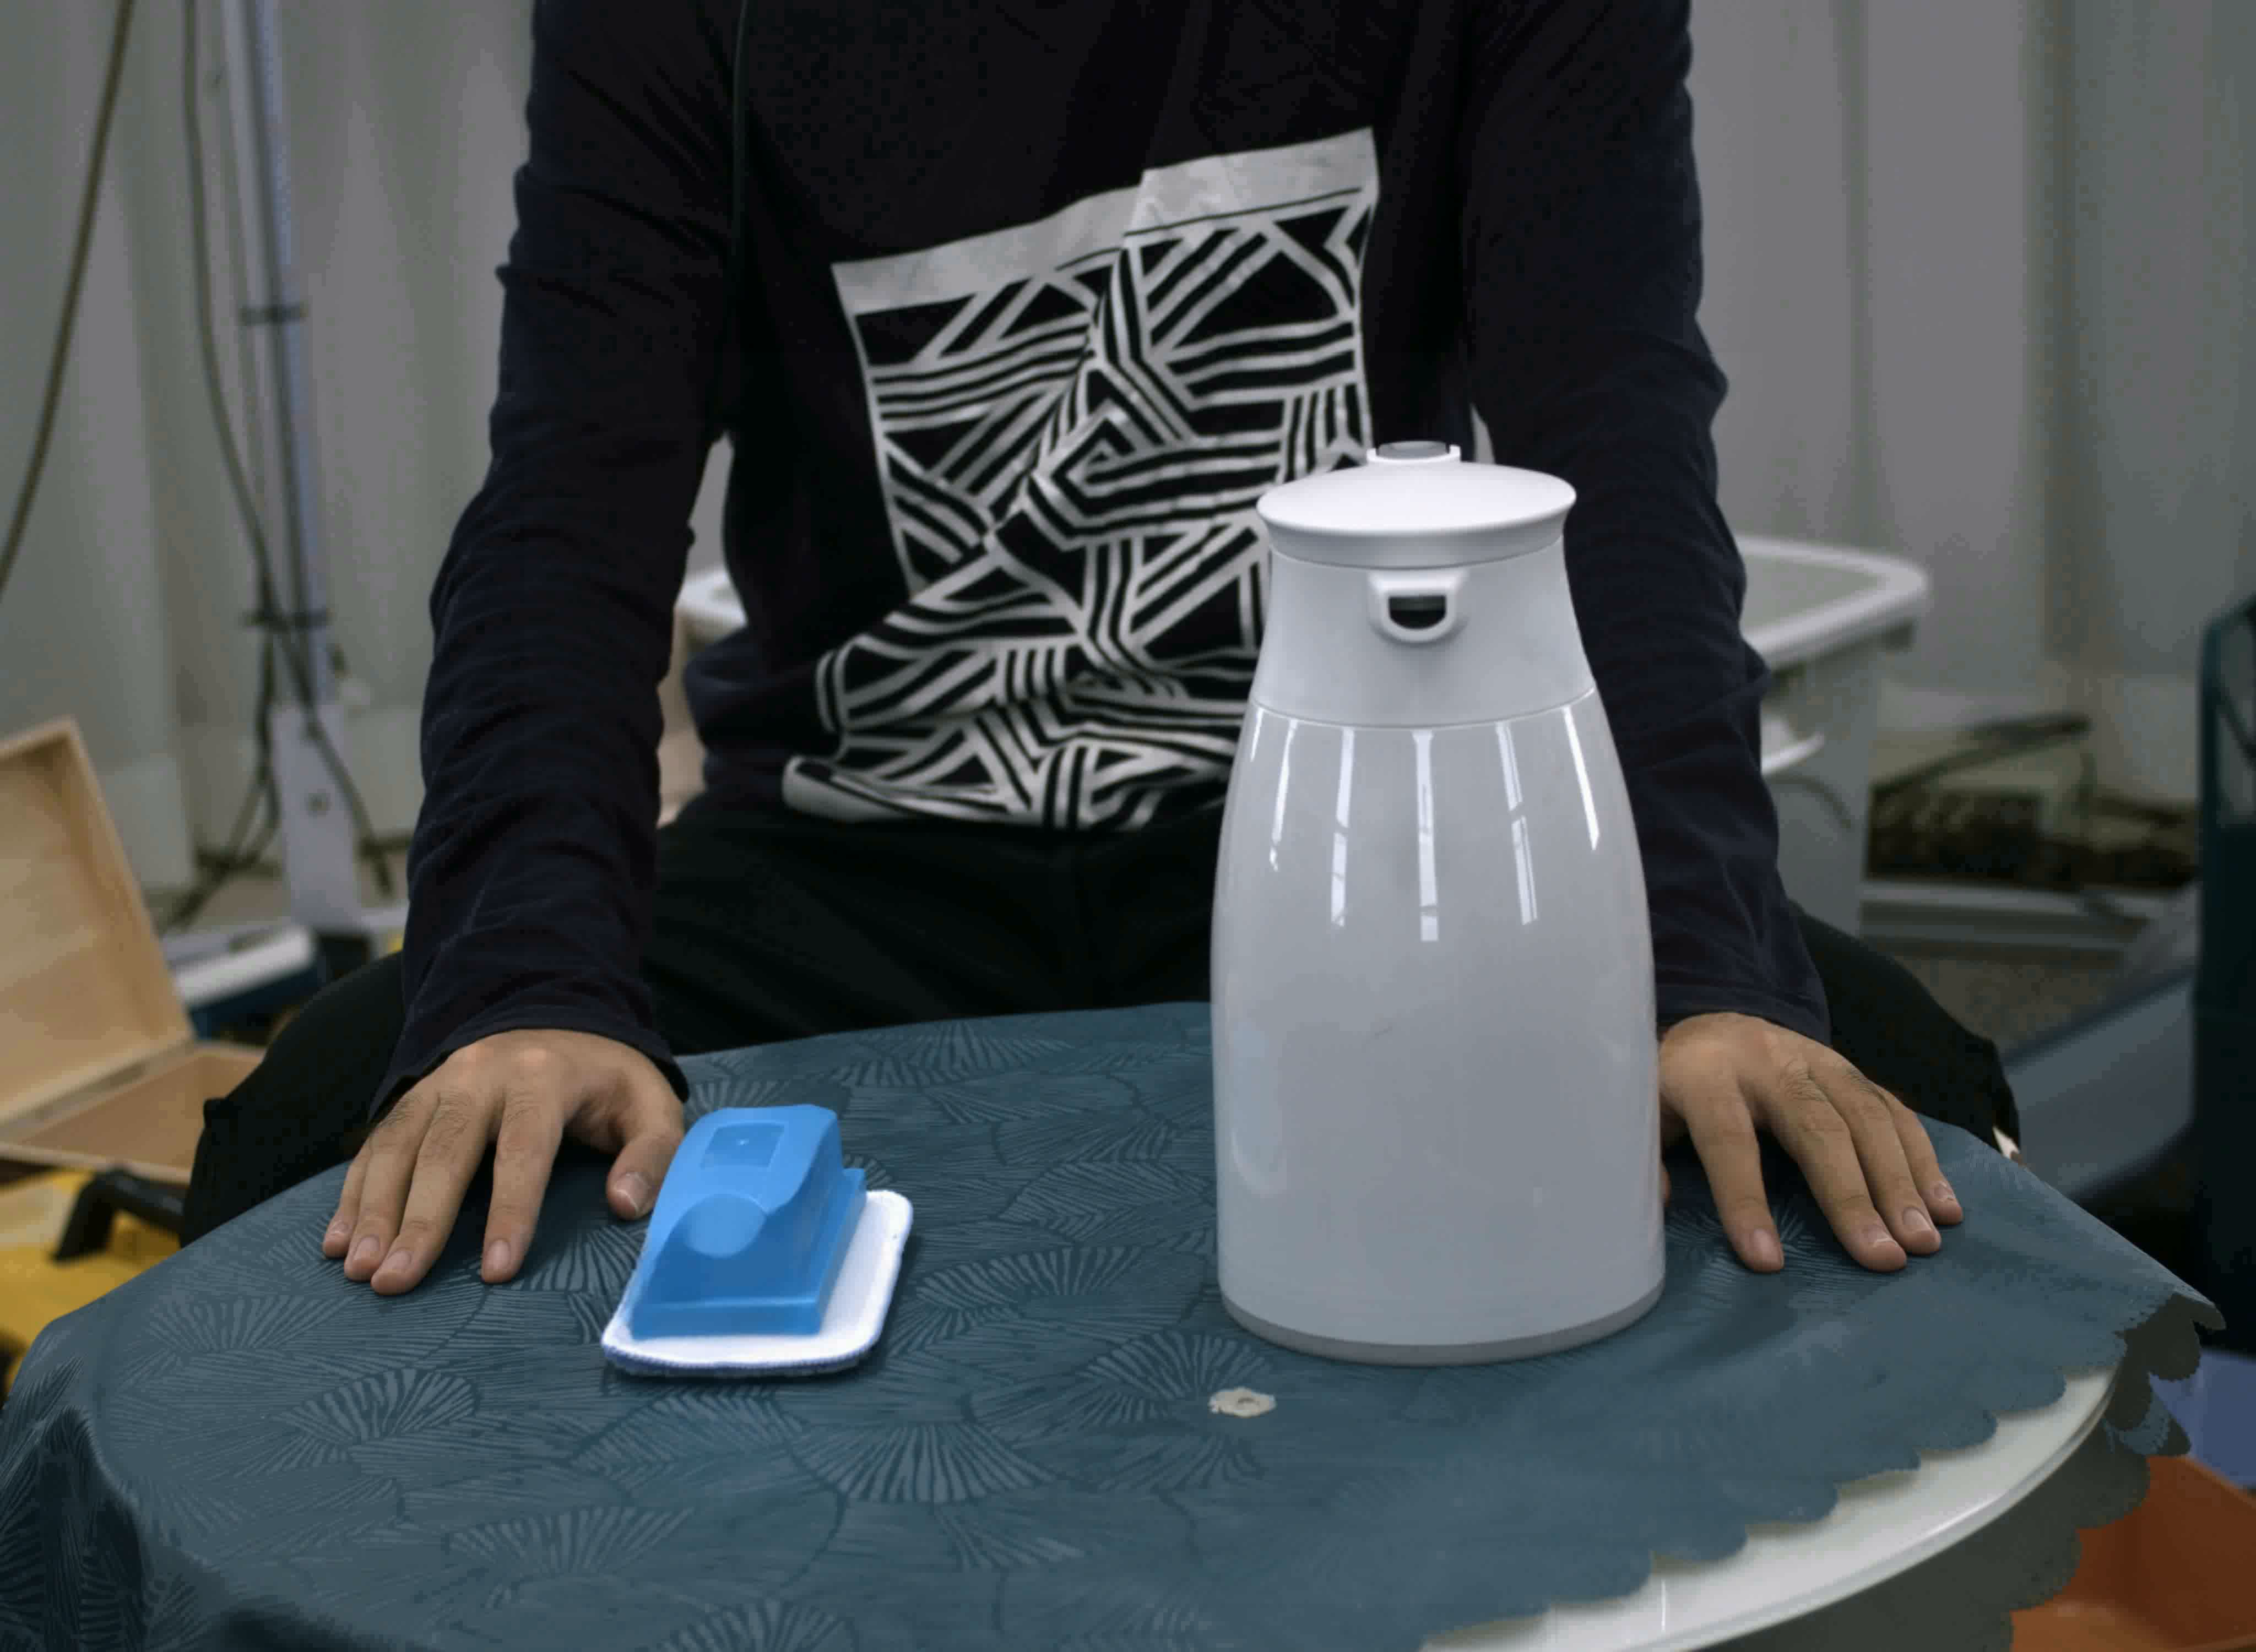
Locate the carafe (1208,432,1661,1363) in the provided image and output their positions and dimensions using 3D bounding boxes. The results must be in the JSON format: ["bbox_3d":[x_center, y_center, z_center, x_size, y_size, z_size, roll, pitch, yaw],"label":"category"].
[{"bbox_3d":[0.086,0.012,1.604,0.132,0.248,0.169,-3,13,1],"label":"carafe"}]

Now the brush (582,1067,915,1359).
[{"bbox_3d":[-0.112,0.112,1.630,0.083,0.055,0.145,2,18,6],"label":"brush"}]
